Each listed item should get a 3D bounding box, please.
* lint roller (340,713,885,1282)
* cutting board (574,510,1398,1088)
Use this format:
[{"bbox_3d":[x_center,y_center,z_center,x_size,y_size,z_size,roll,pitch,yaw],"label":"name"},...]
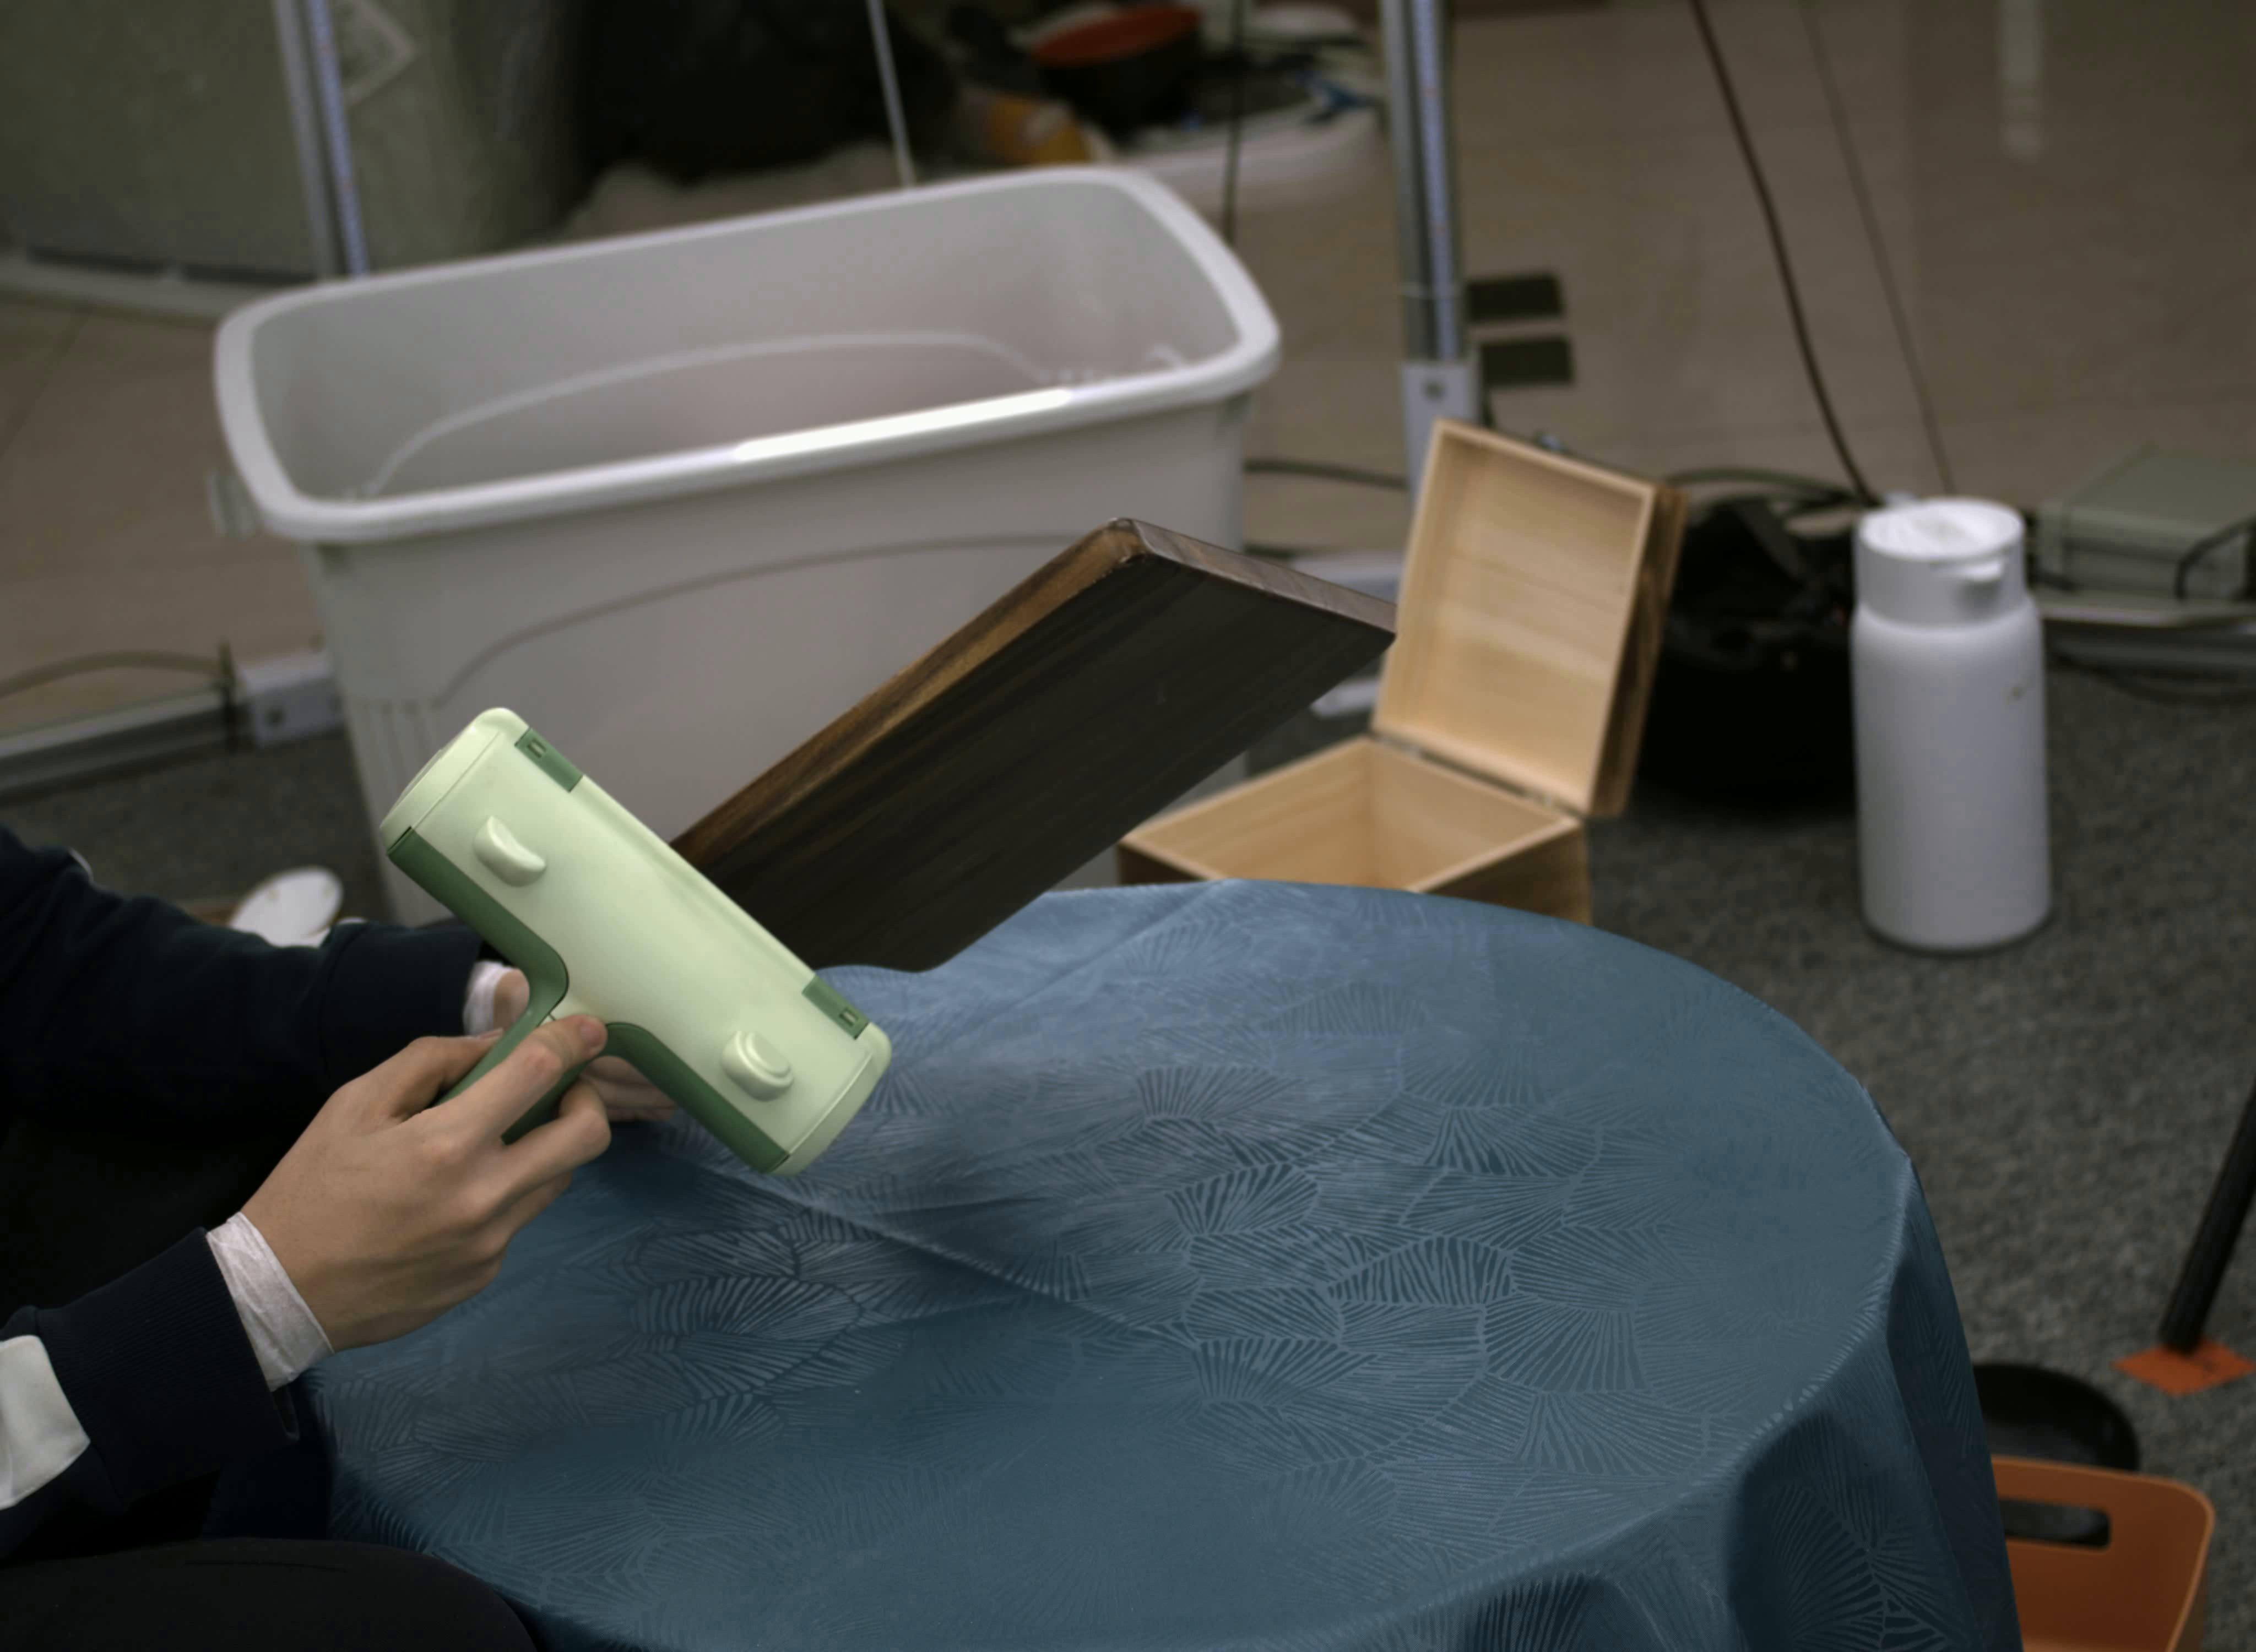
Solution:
[{"bbox_3d":[-0.211,0.087,2.002,0.182,0.199,0.082,-51,9,-16],"label":"lint roller"},{"bbox_3d":[-0.079,0.001,2.133,0.354,0.023,0.202,-35,-24,24],"label":"cutting board"}]
